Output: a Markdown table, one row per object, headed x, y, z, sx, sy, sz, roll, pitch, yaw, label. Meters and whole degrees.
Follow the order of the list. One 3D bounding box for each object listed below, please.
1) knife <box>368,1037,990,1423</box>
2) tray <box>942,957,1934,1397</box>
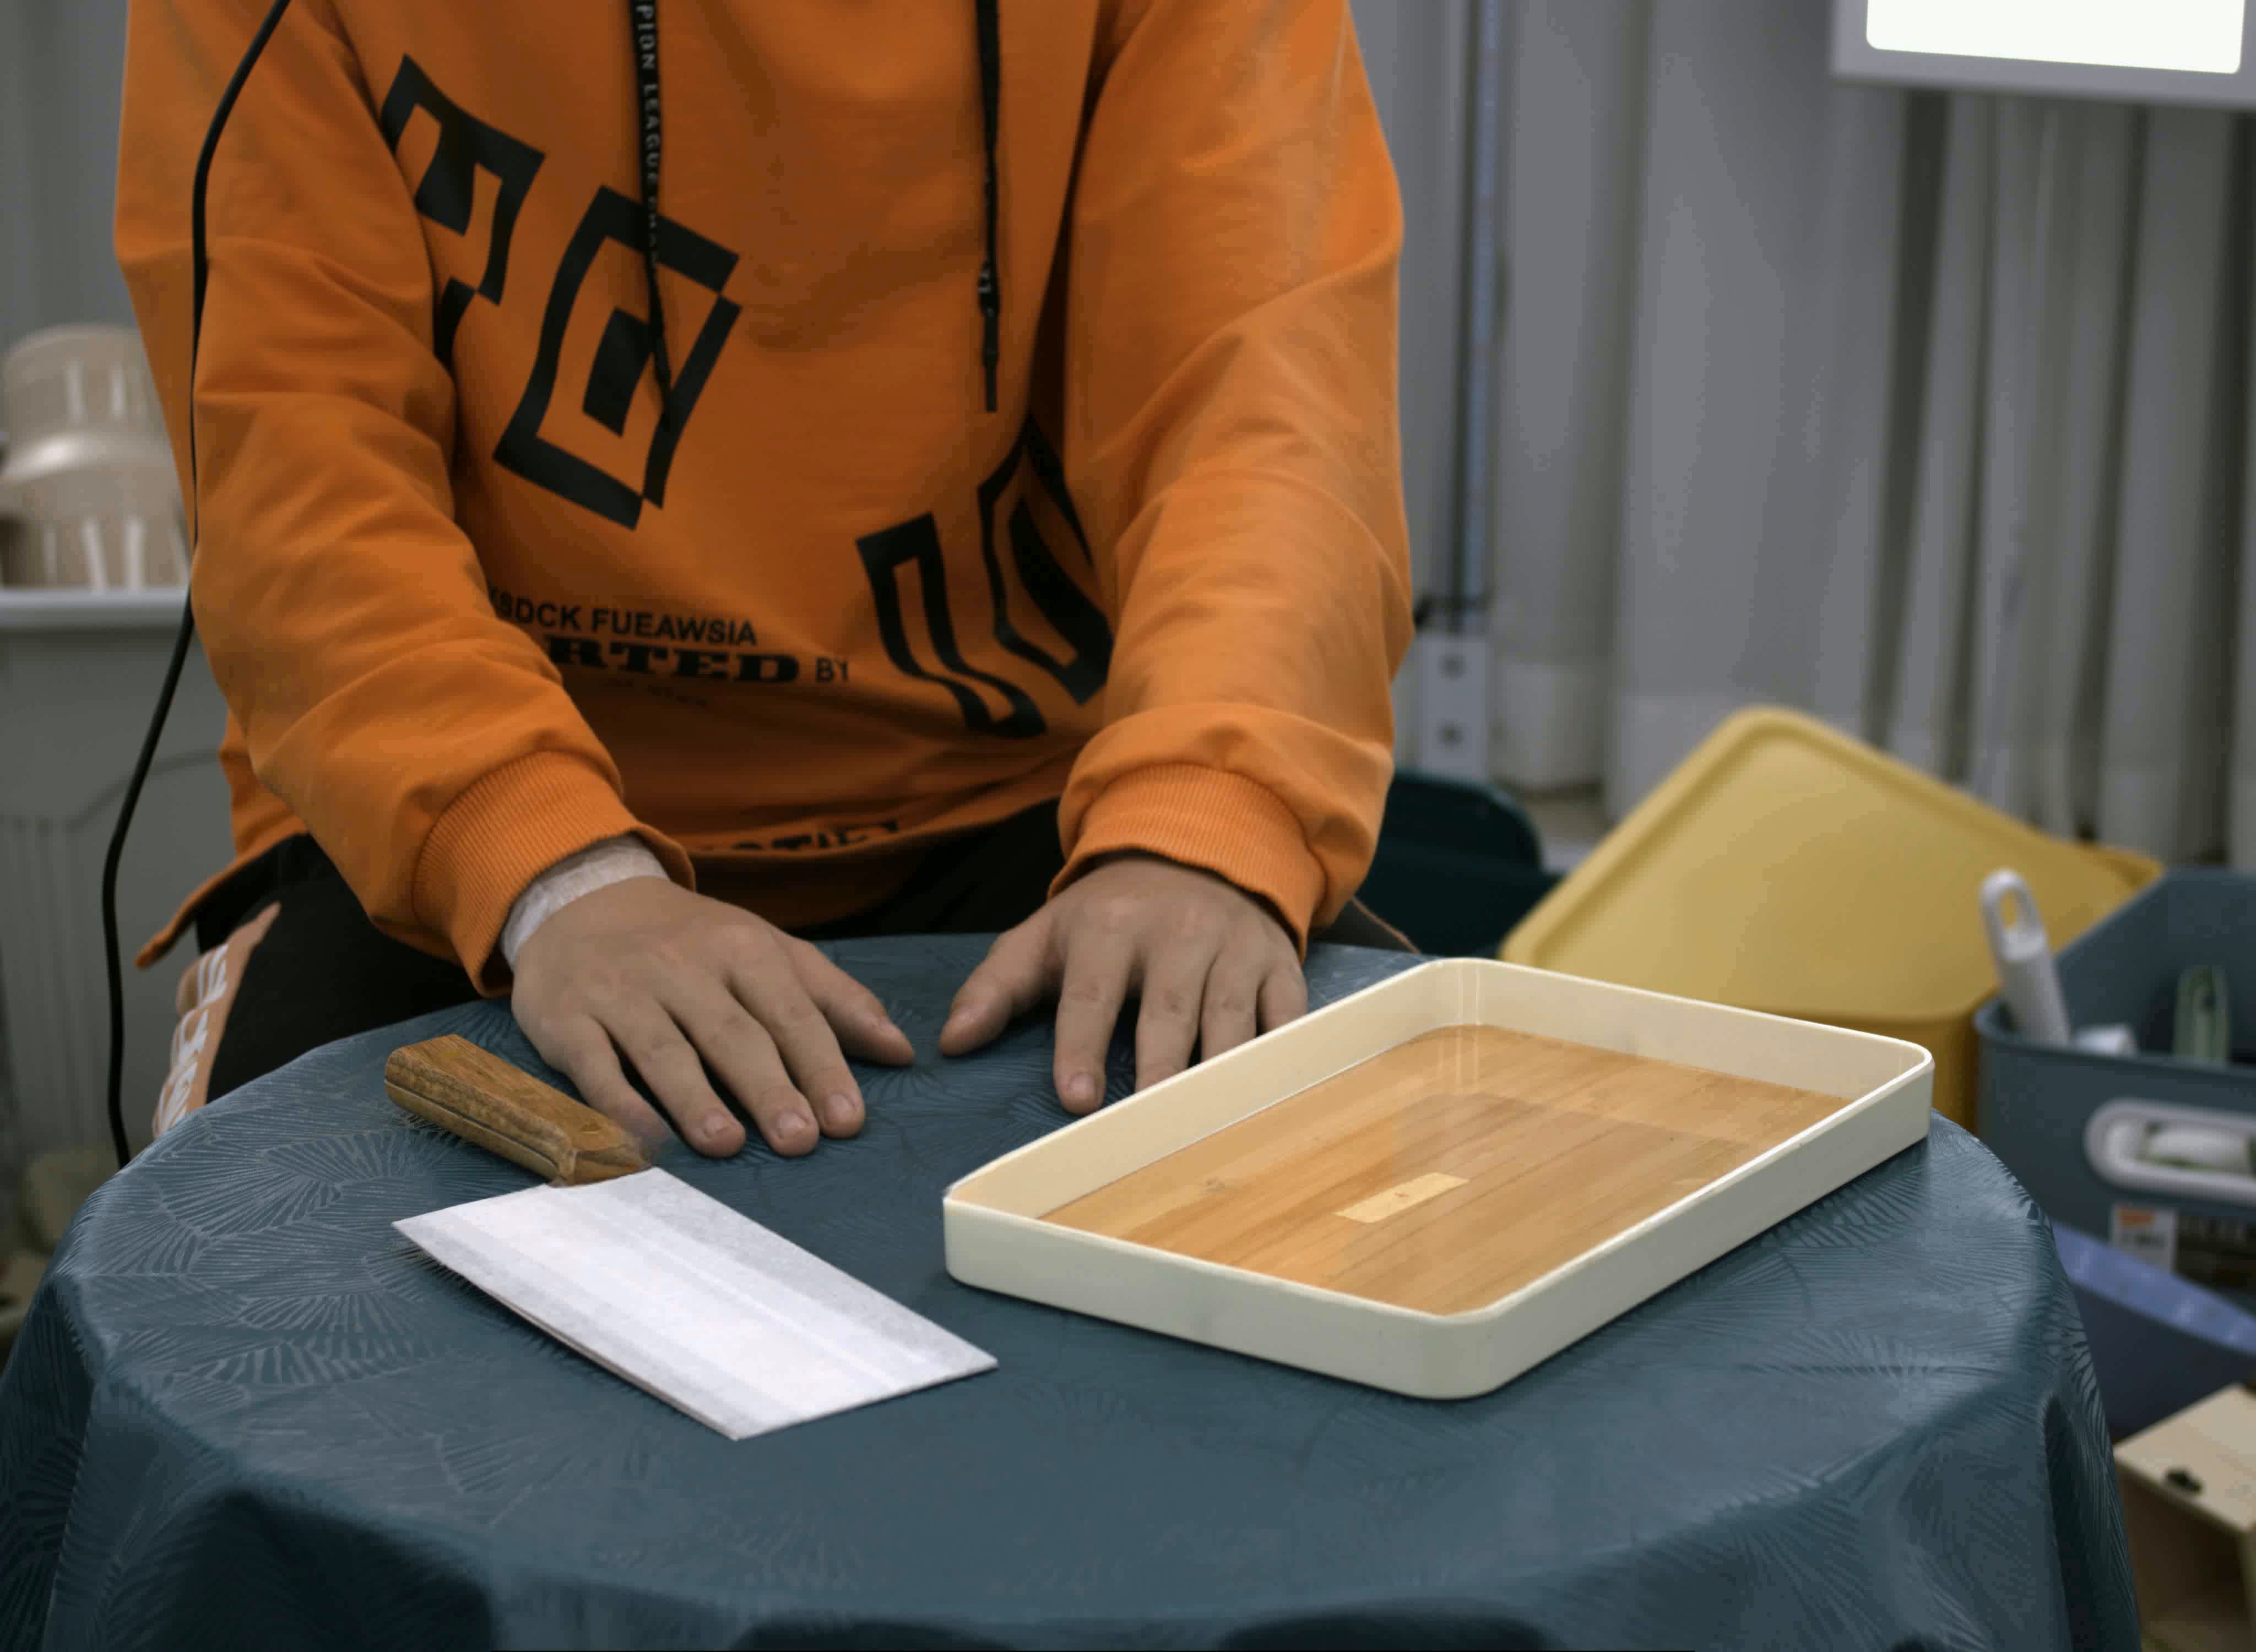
| x | y | z | sx | sy | sz | roll | pitch | yaw | label |
| --- | --- | --- | --- | --- | --- | --- | --- | --- | --- |
| -0.161 | 0.120 | 1.563 | 0.093 | 0.021 | 0.301 | -13 | 23 | -35 | knife |
| 0.100 | 0.102 | 1.612 | 0.189 | 0.027 | 0.301 | 11 | 19 | 33 | tray |
